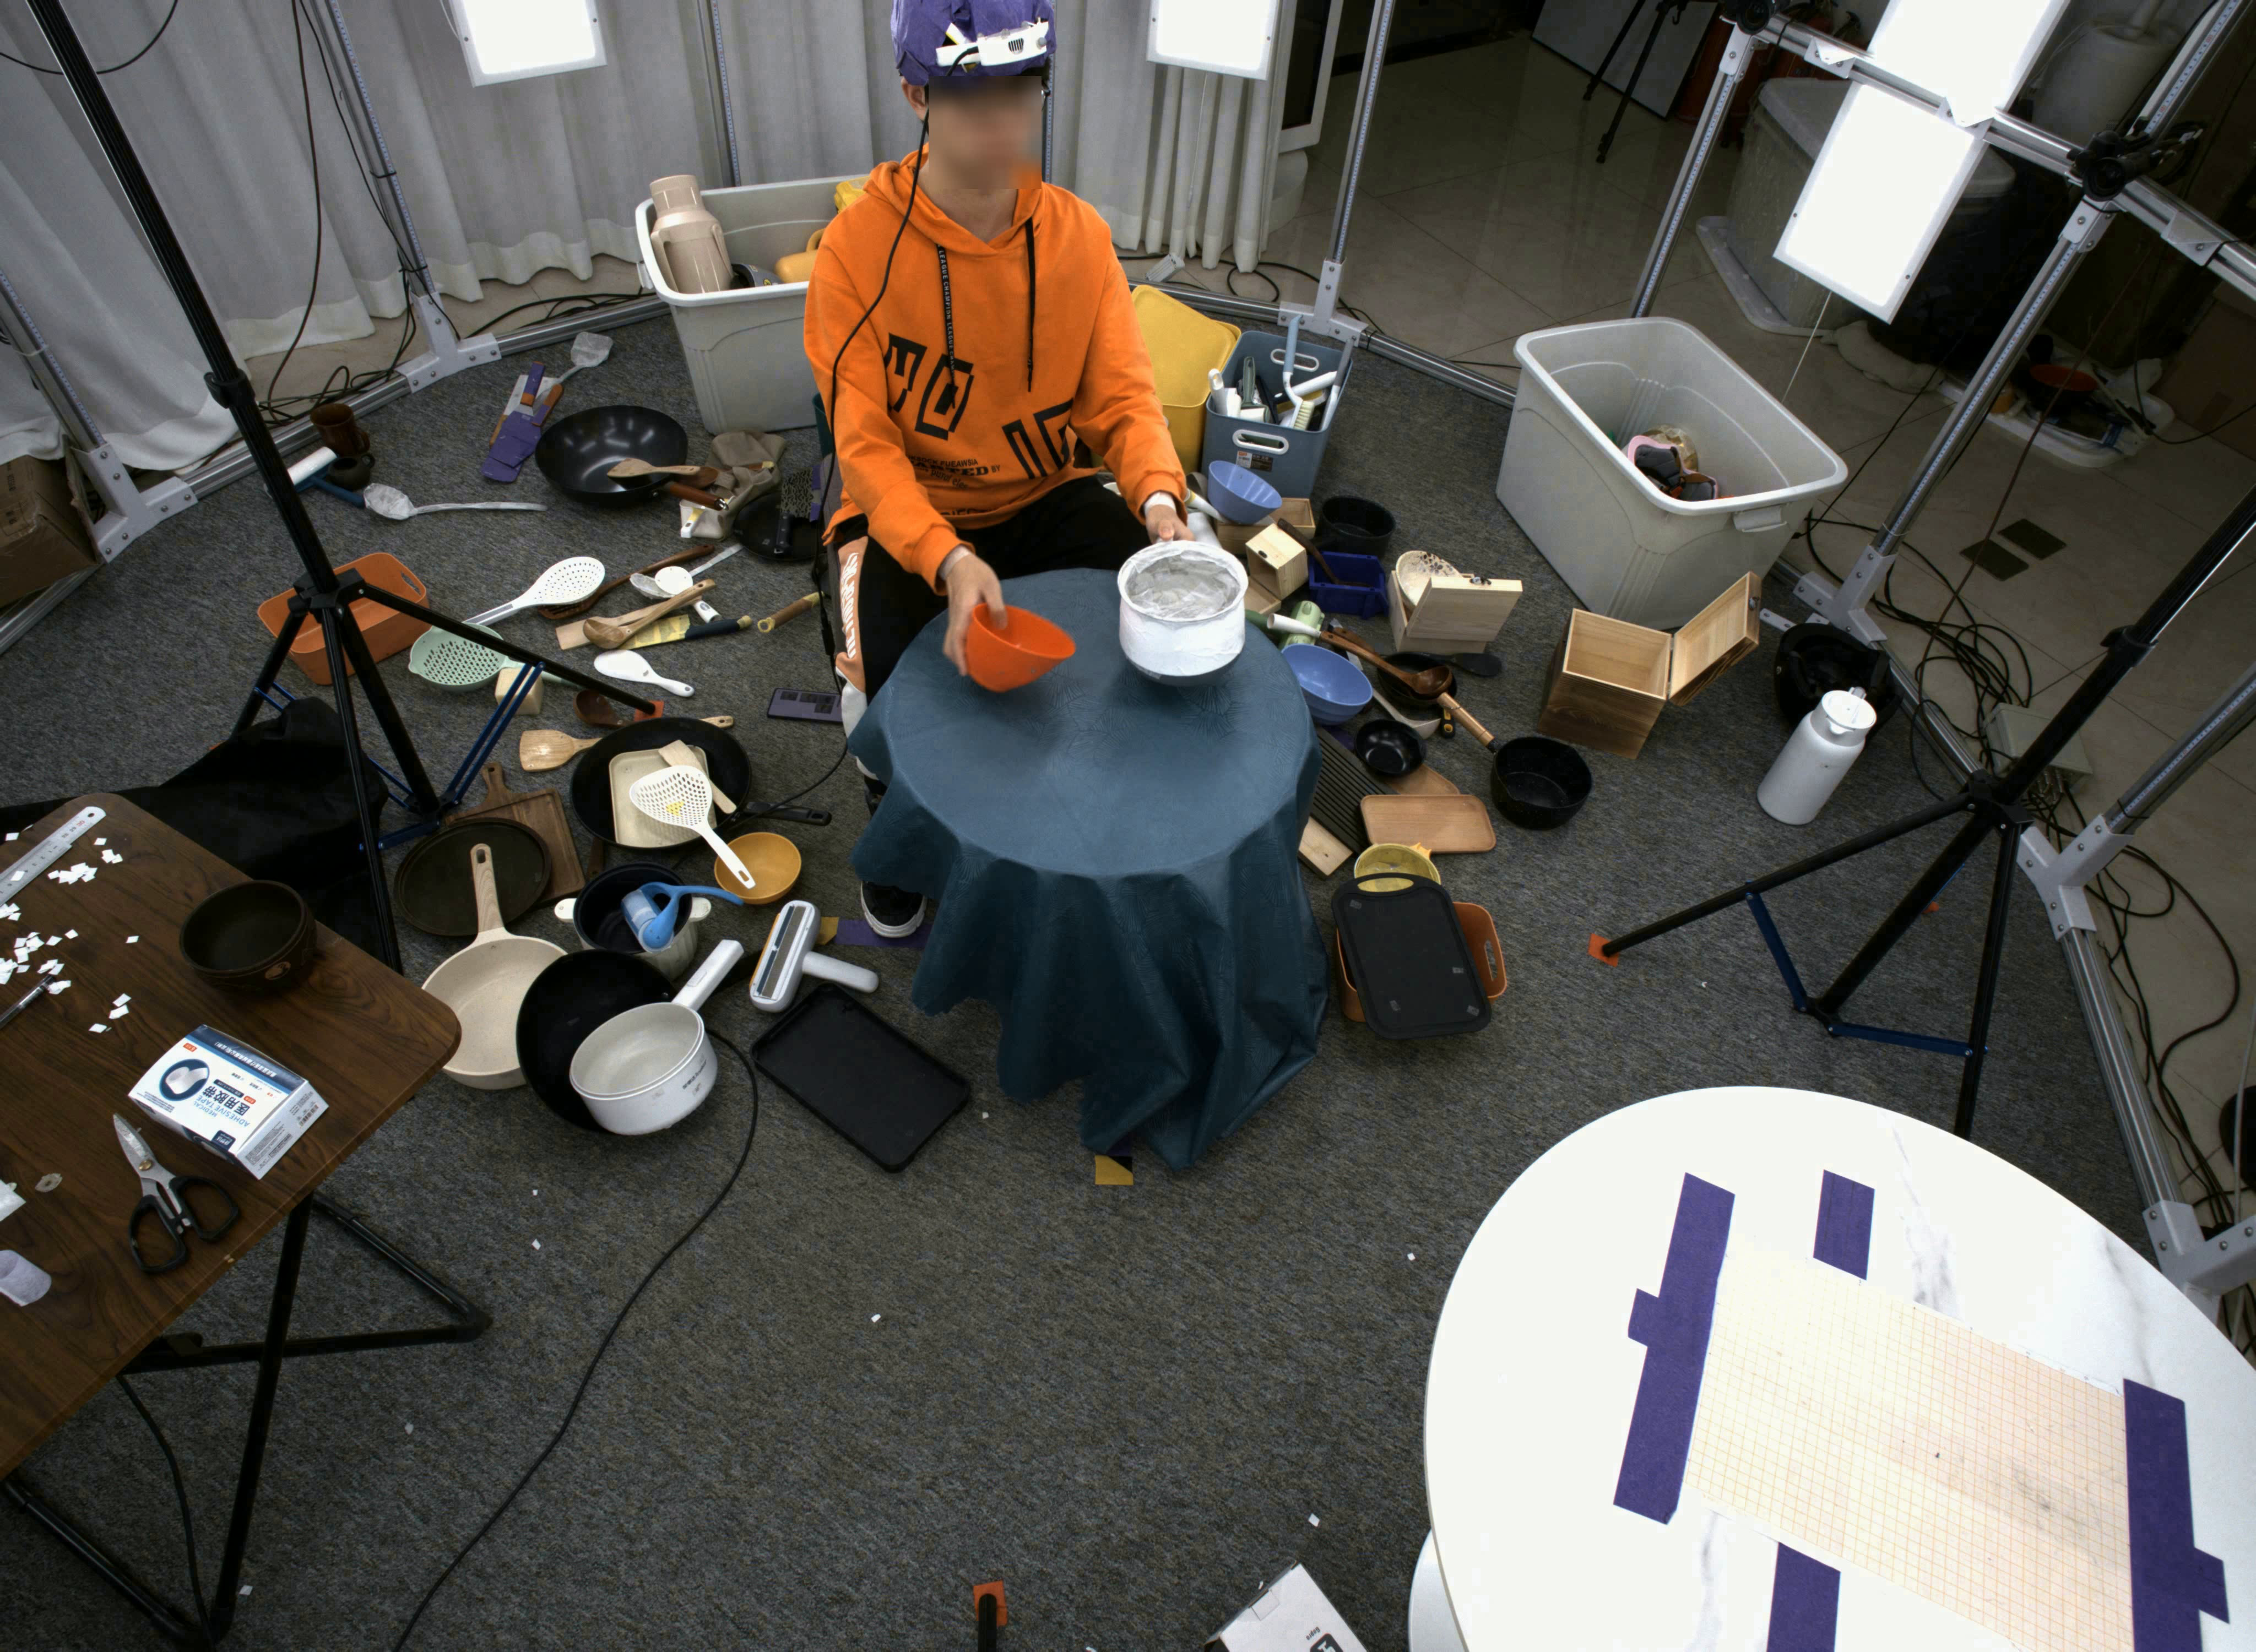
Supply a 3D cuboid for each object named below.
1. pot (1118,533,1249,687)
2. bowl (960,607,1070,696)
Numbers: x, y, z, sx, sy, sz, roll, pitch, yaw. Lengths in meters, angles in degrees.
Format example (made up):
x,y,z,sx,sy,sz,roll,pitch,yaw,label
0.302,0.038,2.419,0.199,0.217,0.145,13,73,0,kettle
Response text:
x,y,z,sx,sy,sz,roll,pitch,yaw,label
0.069,-0.312,1.803,0.178,0.133,0.239,-10,47,-8,pot
-0.168,-0.230,1.756,0.147,0.103,0.151,27,27,-15,bowl
